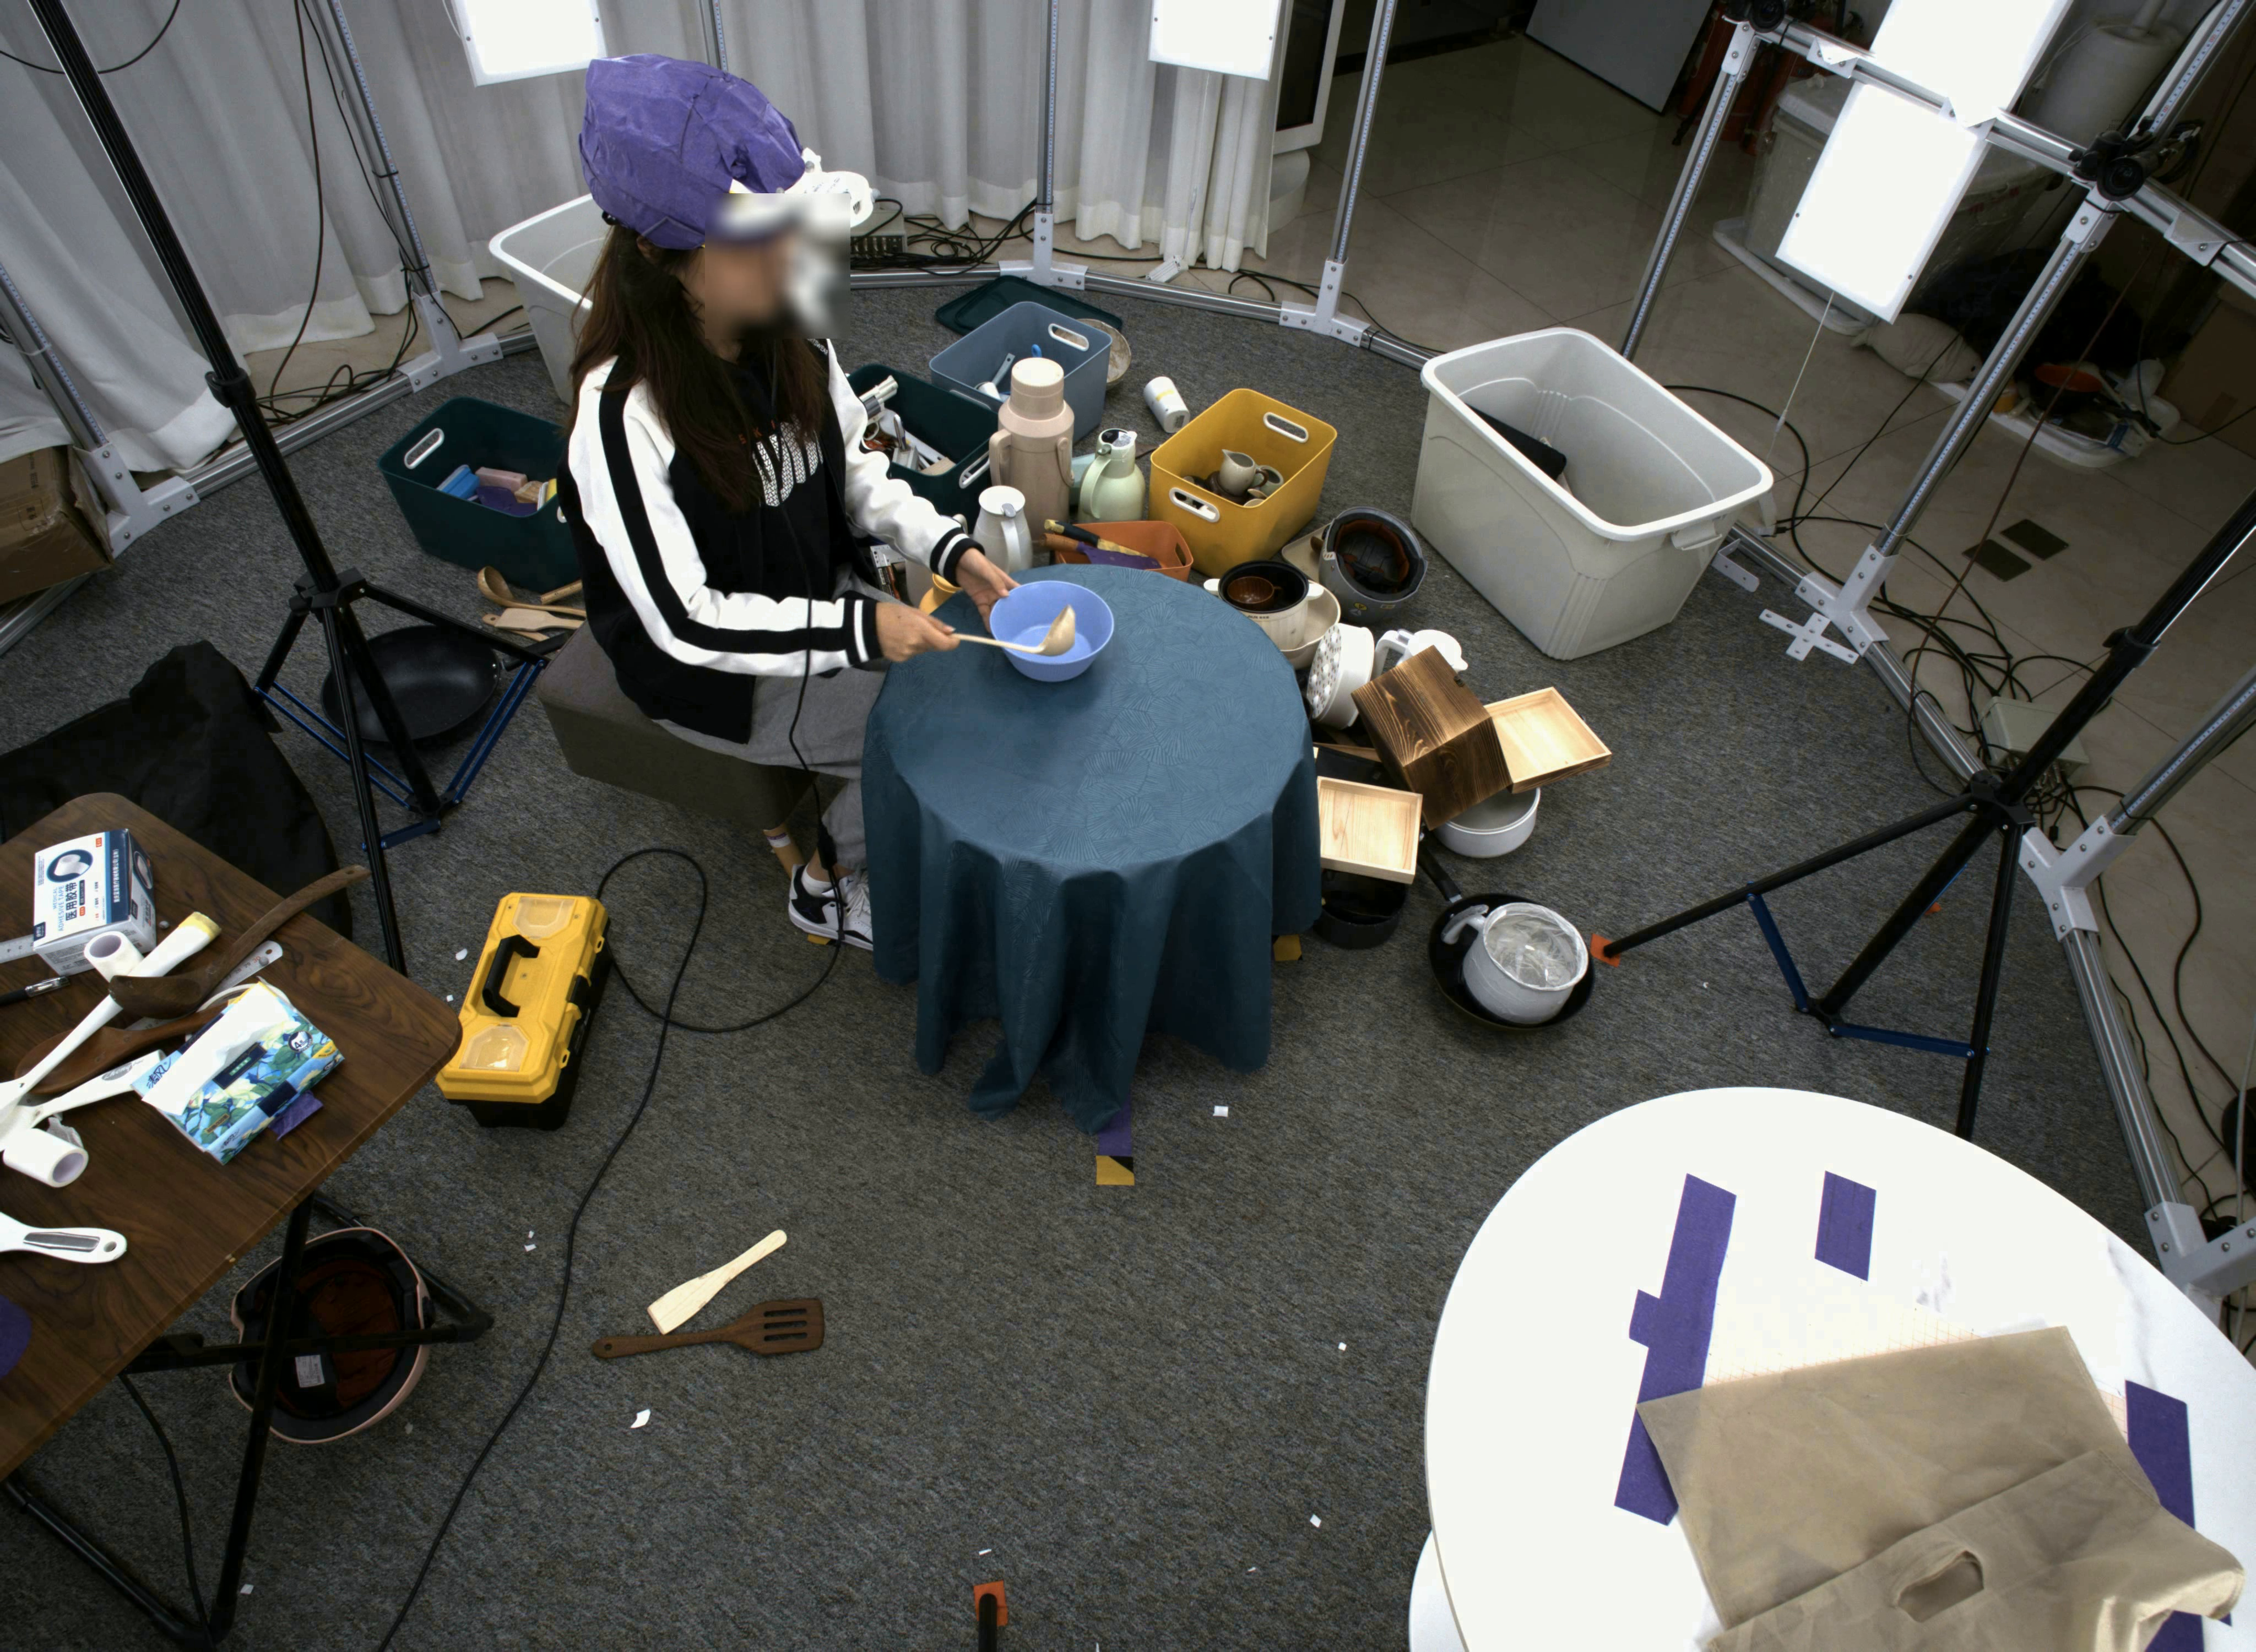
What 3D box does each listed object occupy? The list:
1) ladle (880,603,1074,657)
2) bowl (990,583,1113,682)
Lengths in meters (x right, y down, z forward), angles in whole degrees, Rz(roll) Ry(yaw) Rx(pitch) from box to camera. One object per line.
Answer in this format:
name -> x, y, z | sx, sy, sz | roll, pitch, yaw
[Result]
ladle -> -0.197, -0.269, 1.701 | 0.254, 0.071, 0.073 | 5, 21, -3
bowl -> -0.110, -0.270, 1.851 | 0.176, 0.068, 0.180 | 2, 48, -3
